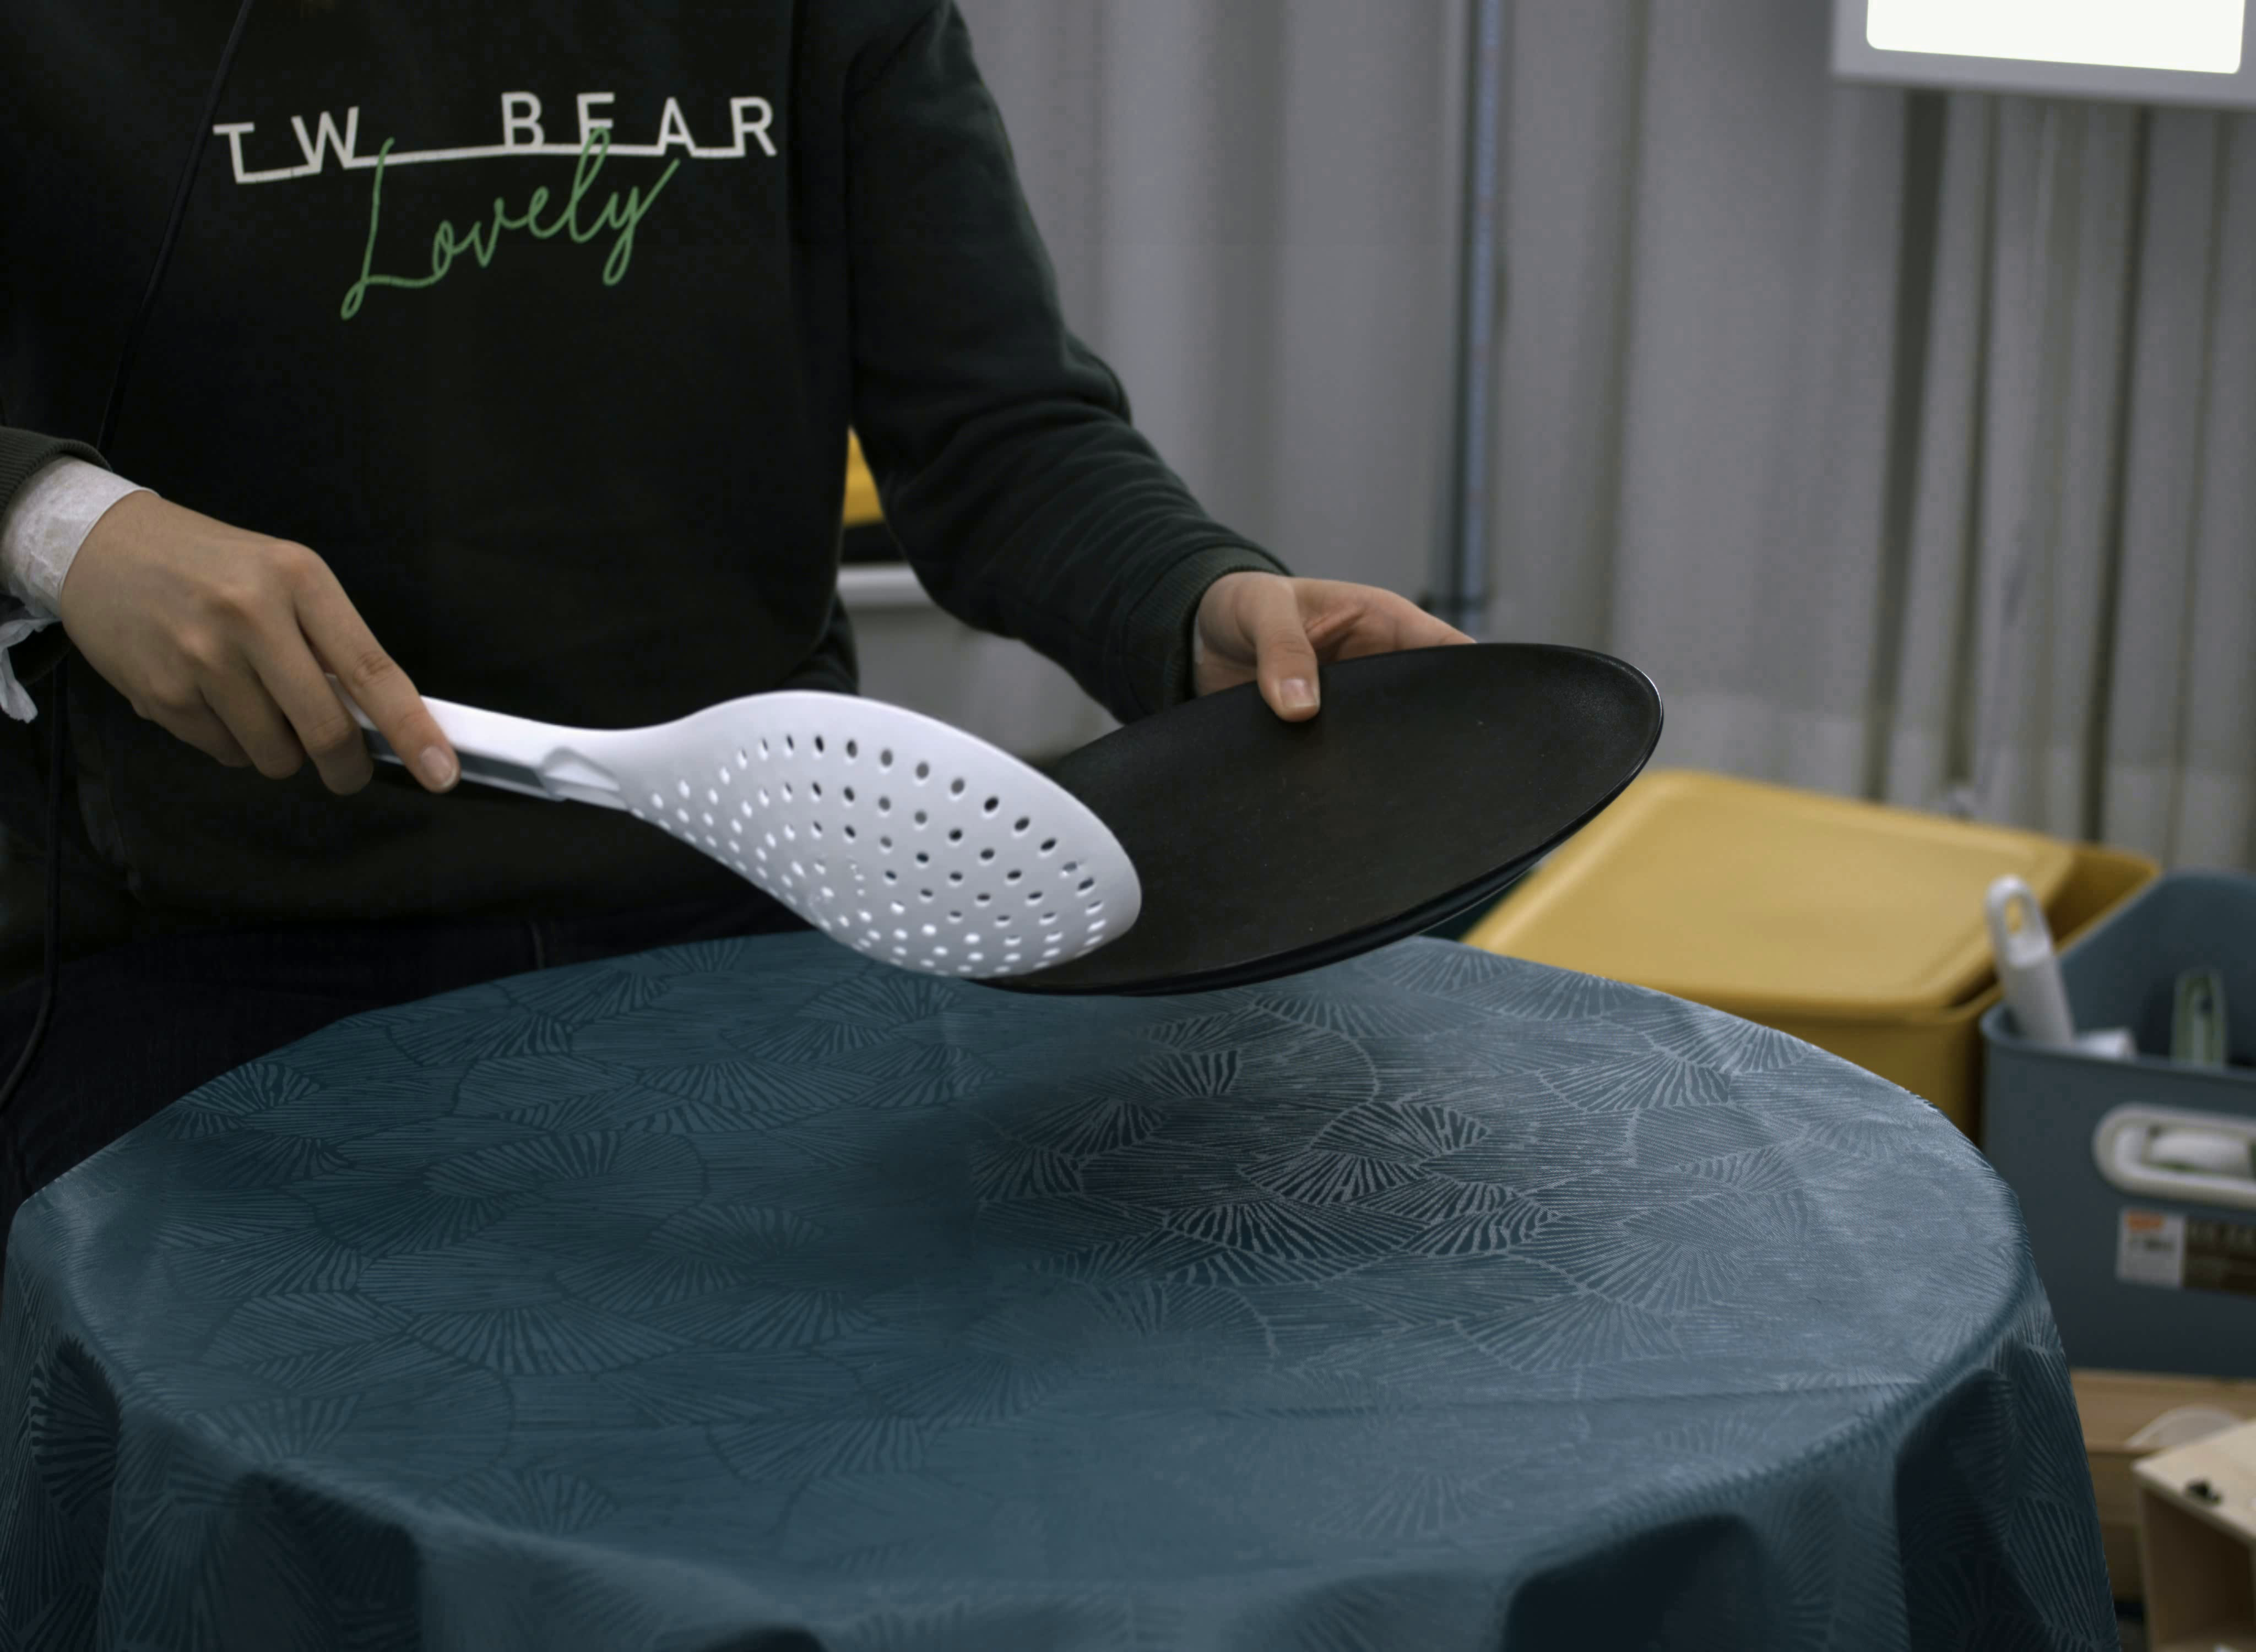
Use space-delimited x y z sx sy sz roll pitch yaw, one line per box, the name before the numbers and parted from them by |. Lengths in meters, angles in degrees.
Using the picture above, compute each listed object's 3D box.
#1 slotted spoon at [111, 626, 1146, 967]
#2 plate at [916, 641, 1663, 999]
slotted spoon | -0.157 -0.019 1.580 0.346 0.138 0.045 16 64 24
plate | 0.051 0.002 1.638 0.243 0.023 0.243 -15 20 6
